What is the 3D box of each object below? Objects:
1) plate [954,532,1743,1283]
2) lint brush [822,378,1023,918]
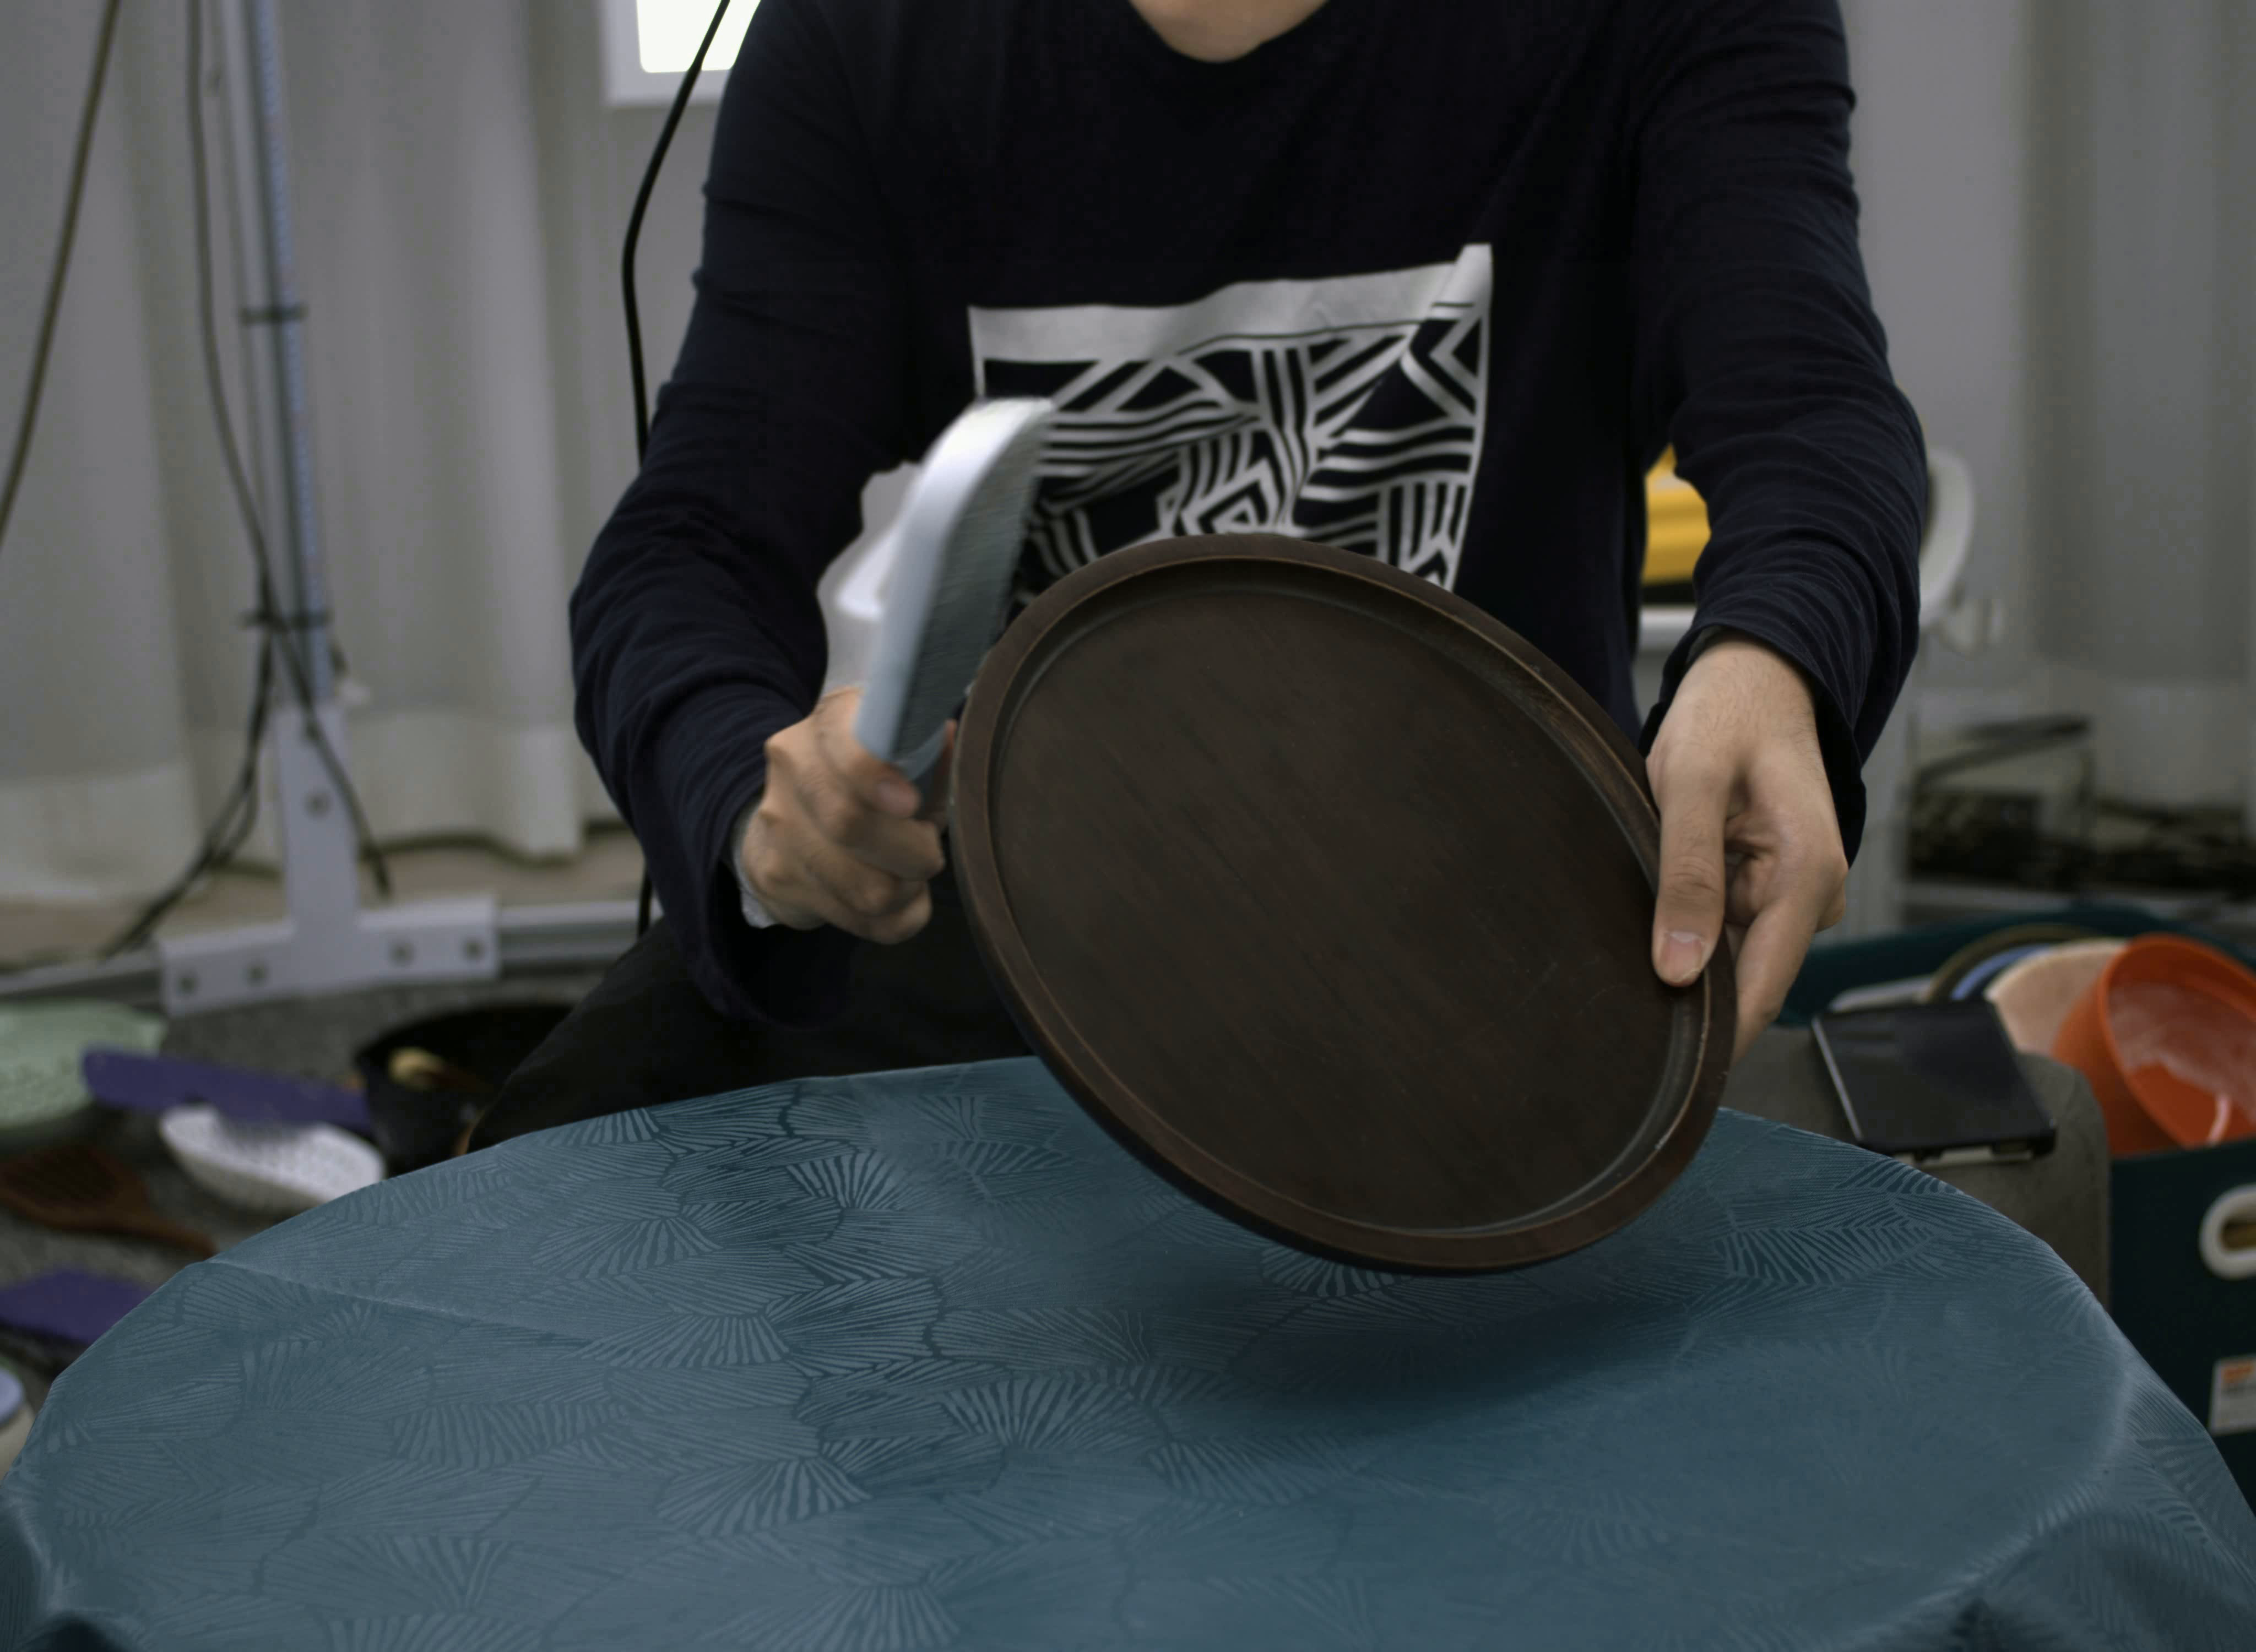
[{"bbox_3d":[0.064,0.022,1.591,0.254,0.257,0.029,-13,-25,-36],"label":"plate"},{"bbox_3d":[-0.068,-0.047,1.693,0.021,0.306,0.060,31,62,7],"label":"lint brush"}]
